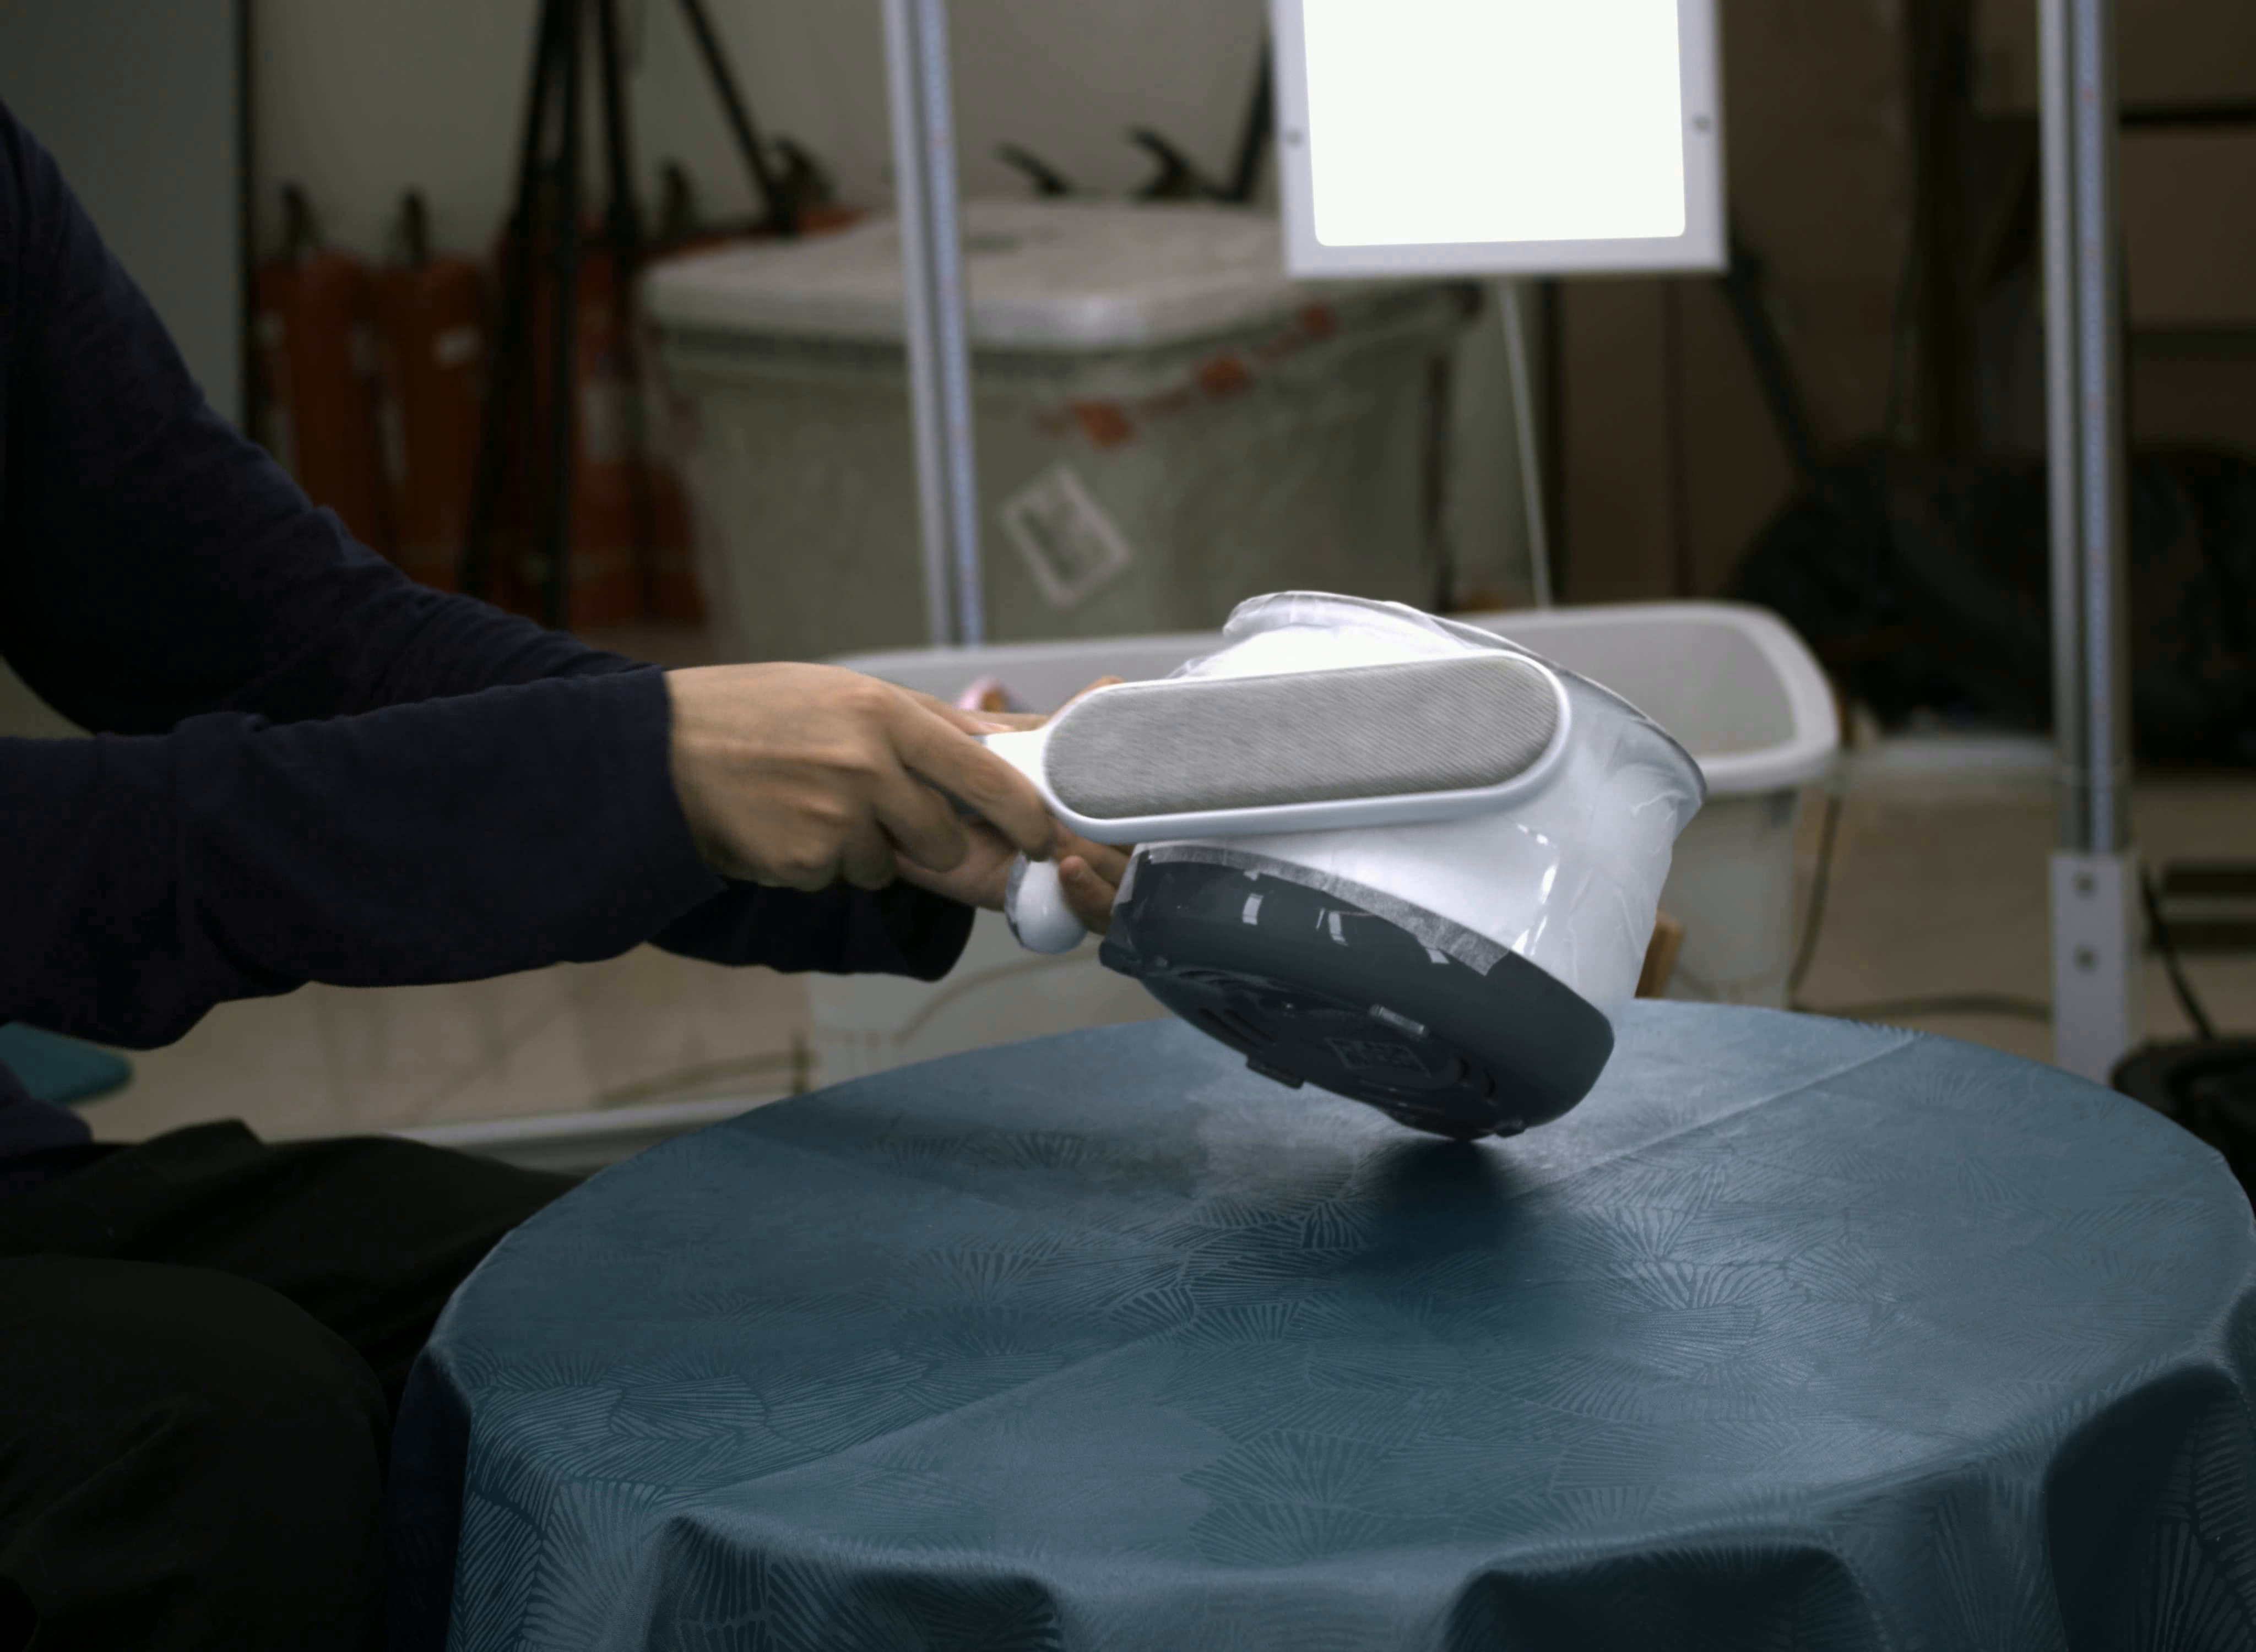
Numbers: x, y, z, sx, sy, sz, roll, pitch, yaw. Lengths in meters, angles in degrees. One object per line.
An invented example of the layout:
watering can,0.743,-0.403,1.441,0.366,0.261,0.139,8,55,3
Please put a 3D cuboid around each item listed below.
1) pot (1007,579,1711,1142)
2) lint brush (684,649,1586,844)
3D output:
pot,0.071,0.009,1.898,0.238,0.136,0.176,14,-19,33
lint brush,-0.001,-0.023,1.819,0.312,0.060,0.021,-4,-24,17
